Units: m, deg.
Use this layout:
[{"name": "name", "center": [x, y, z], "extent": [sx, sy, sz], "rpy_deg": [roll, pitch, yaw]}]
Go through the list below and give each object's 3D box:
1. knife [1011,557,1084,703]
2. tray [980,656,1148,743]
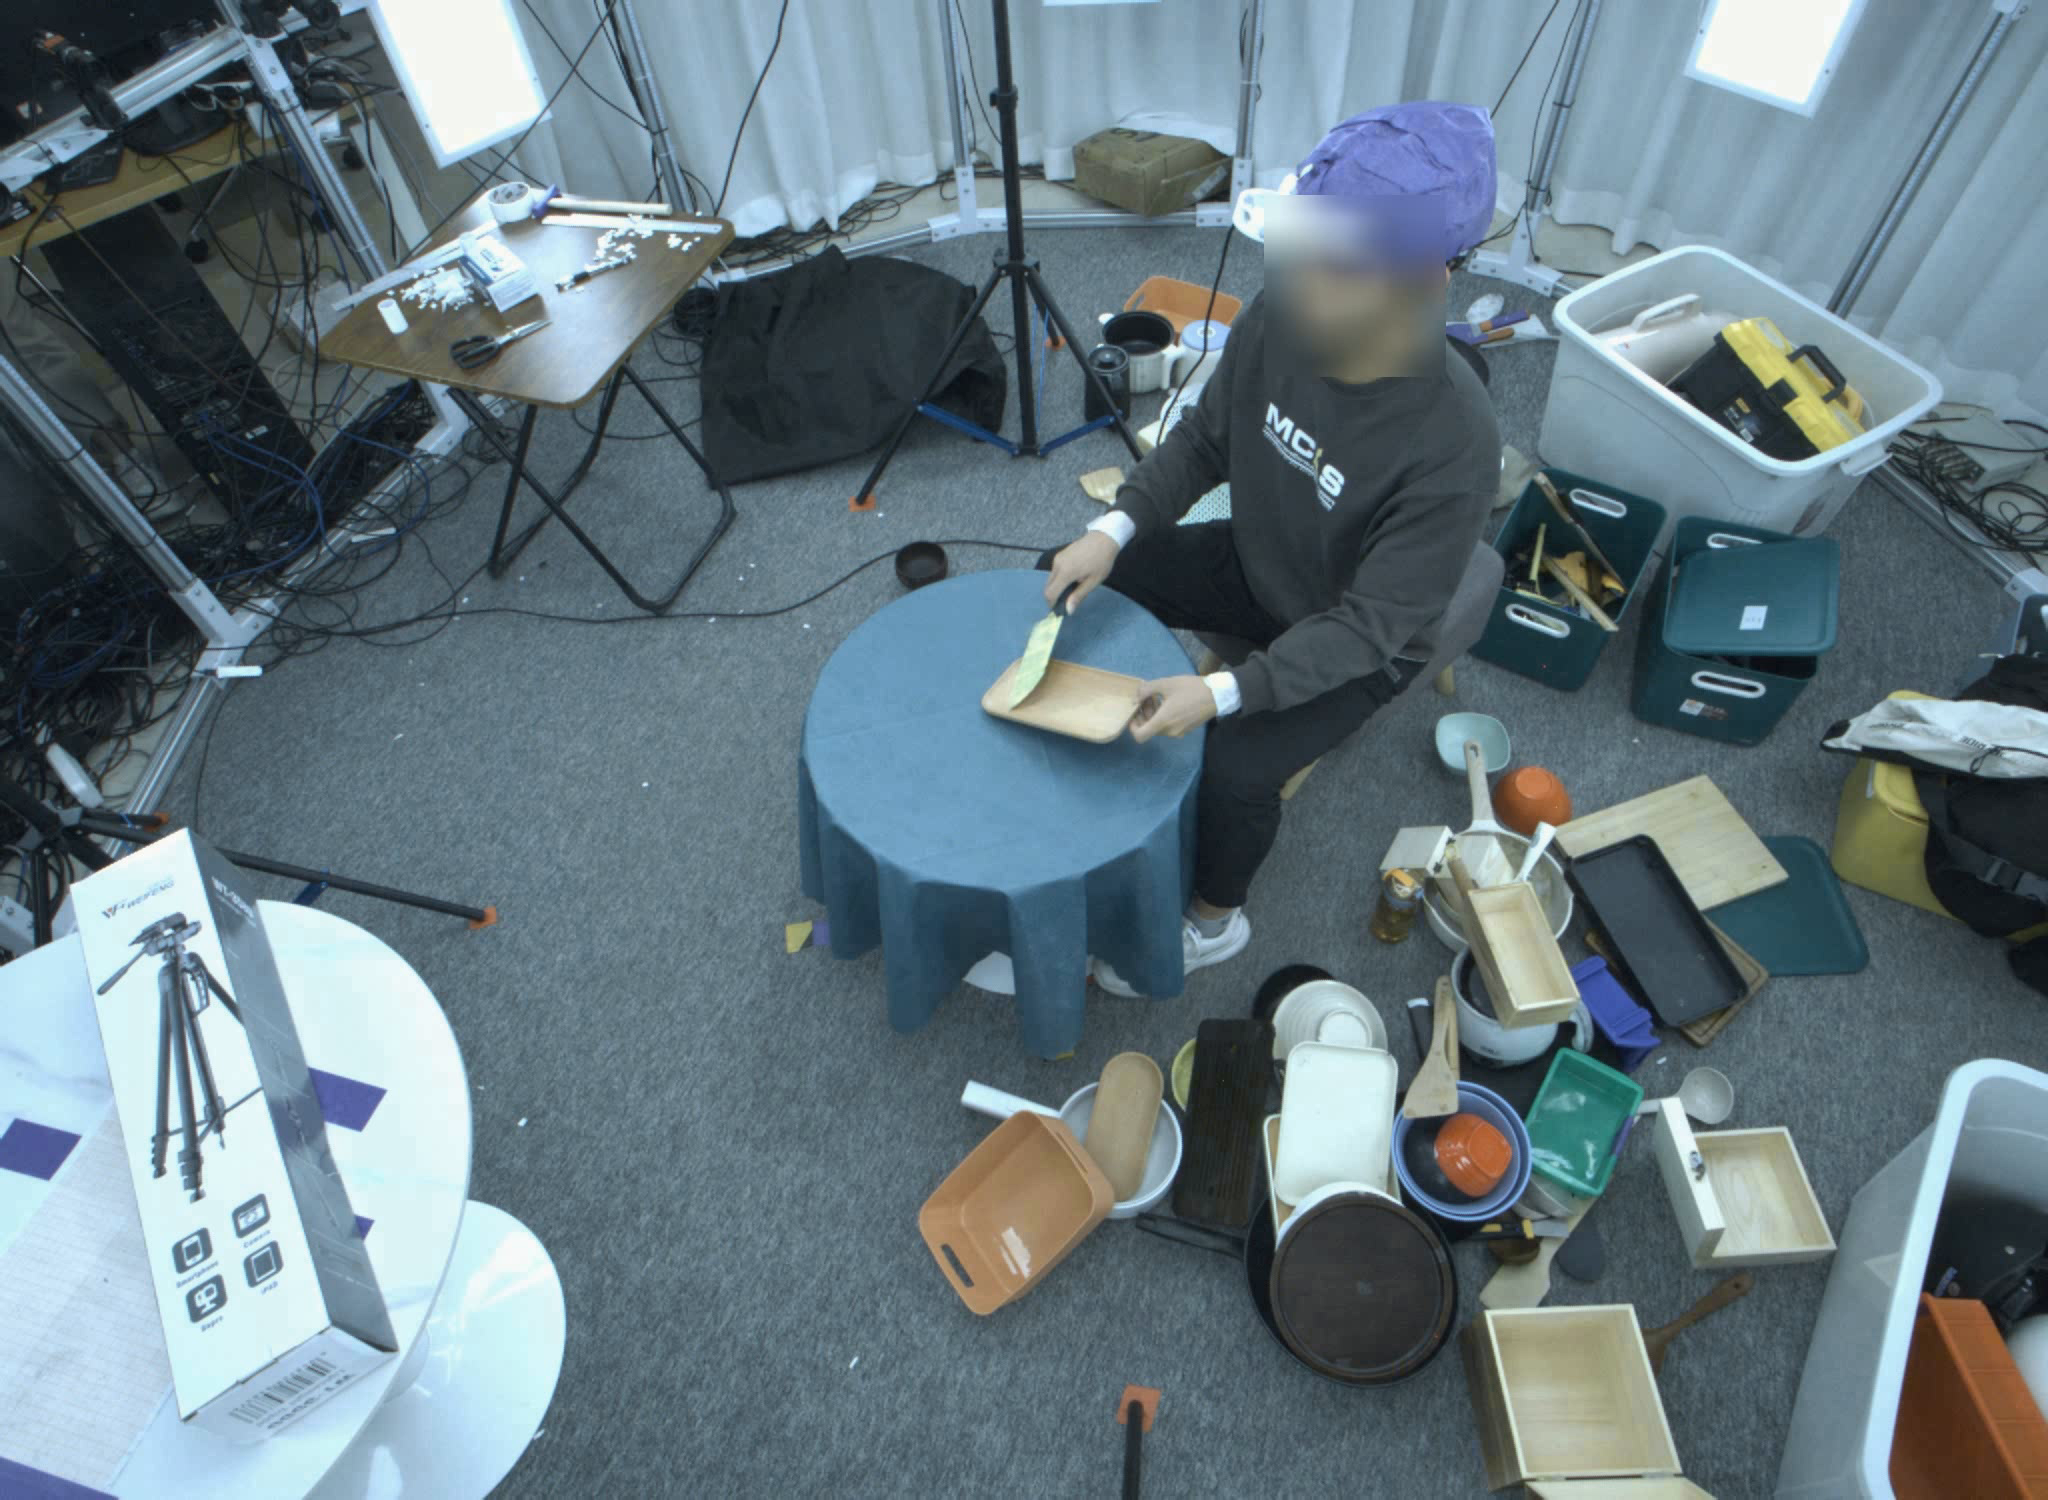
[{"name": "knife", "center": [0.036, -0.184, 1.871], "extent": [0.079, 0.028, 0.289], "rpy_deg": [-17, 42, 47]}, {"name": "tray", "center": [0.056, -0.076, 1.792], "extent": [0.245, 0.023, 0.131], "rpy_deg": [16, 51, 36]}]
